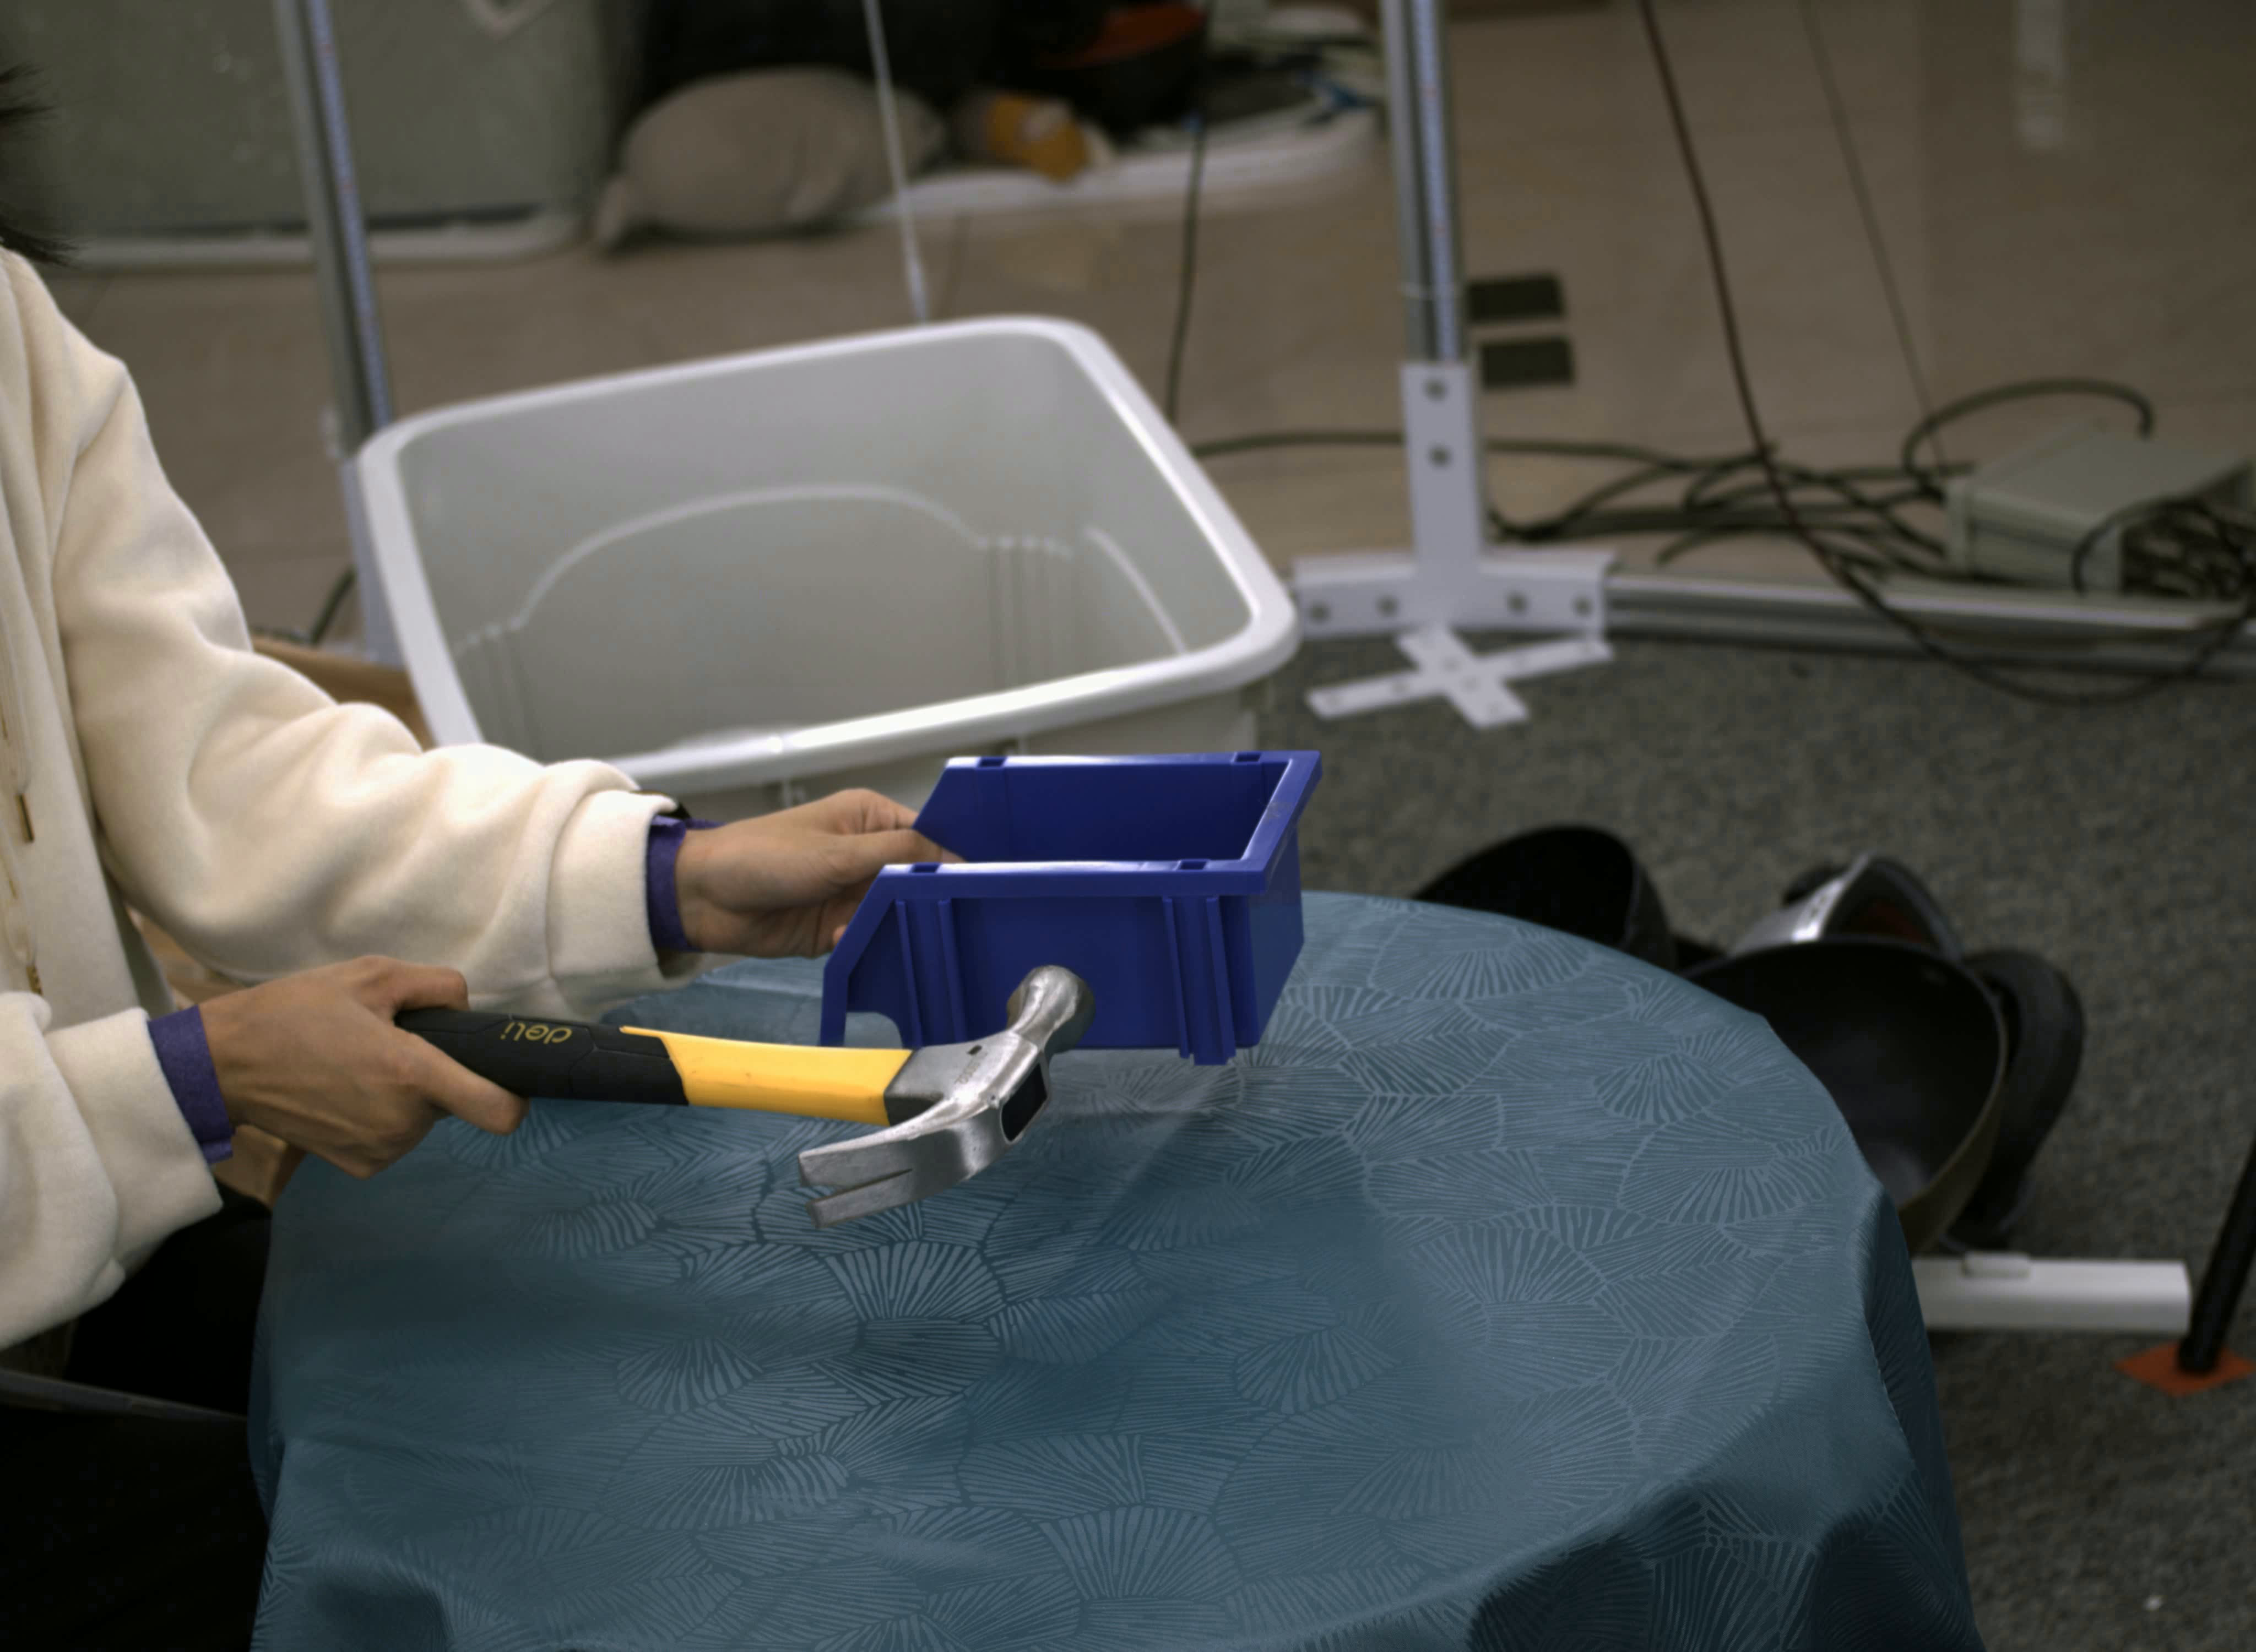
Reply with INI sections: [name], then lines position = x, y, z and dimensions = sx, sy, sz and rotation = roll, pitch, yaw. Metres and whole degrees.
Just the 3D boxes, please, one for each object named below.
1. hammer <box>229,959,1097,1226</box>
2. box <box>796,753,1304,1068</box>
[hammer]
position = -0.187, 0.085, 2.093
dimensions = 0.337, 0.033, 0.129
rotation = 5, 37, 26
[box]
position = -0.029, 0.031, 2.188
dimensions = 0.179, 0.083, 0.123
rotation = 1, 24, 14
